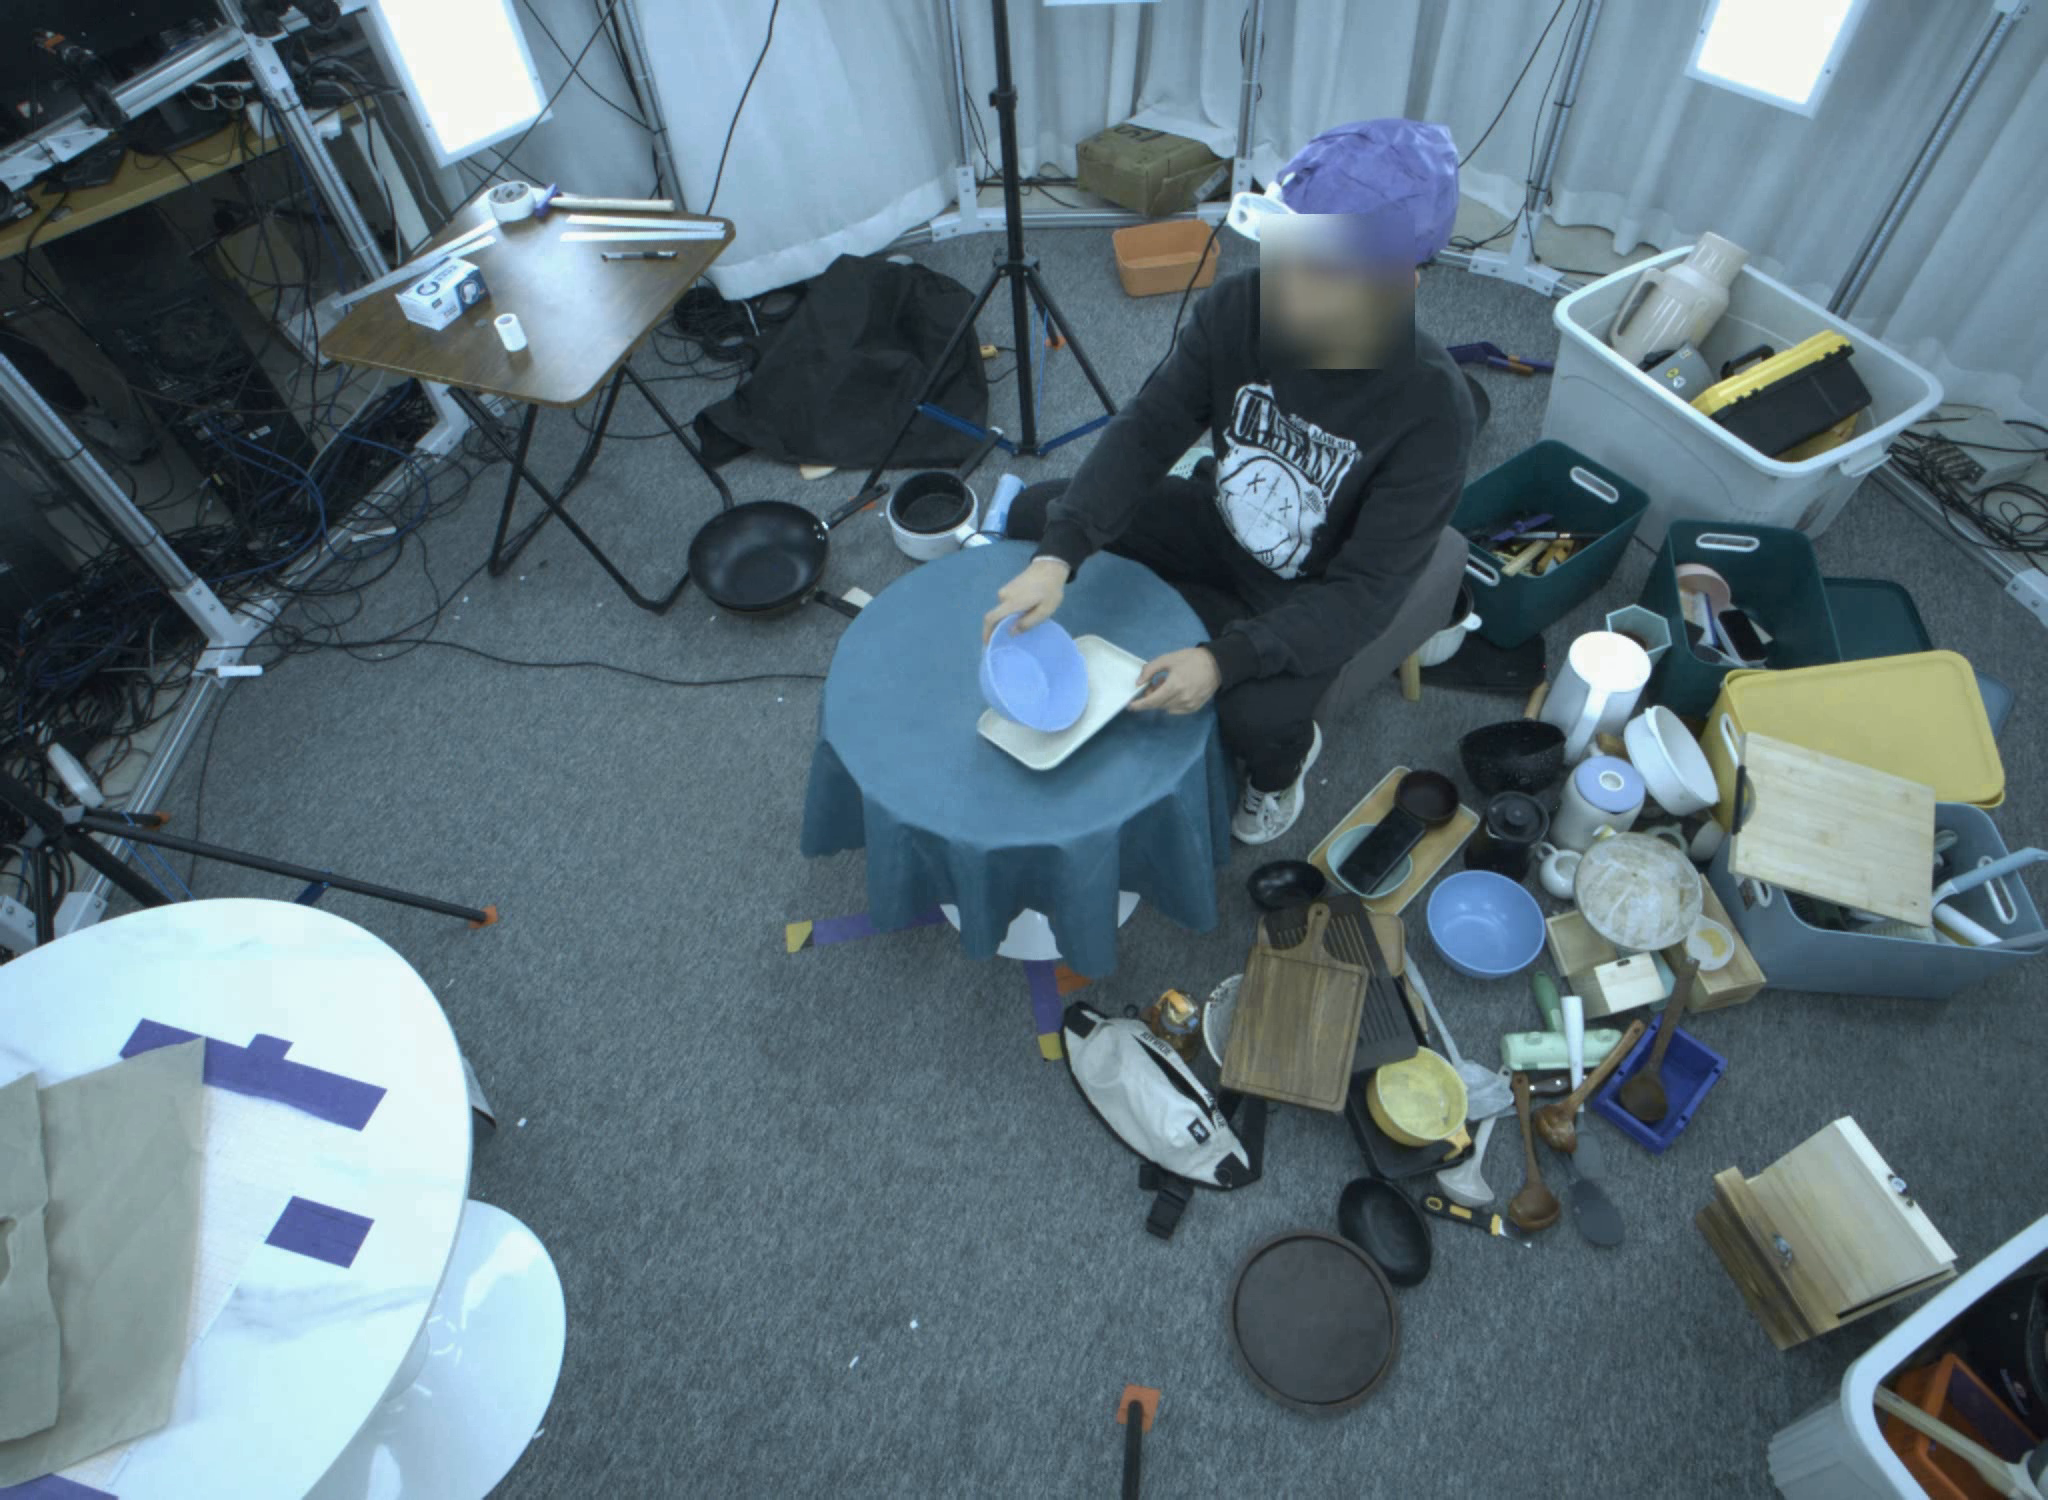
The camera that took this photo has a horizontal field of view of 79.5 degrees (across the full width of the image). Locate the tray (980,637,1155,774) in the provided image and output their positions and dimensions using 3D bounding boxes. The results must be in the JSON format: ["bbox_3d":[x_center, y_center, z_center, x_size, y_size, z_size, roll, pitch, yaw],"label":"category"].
[{"bbox_3d":[0.064,-0.066,1.801,0.241,0.018,0.167,-40,48,-18],"label":"tray"}]

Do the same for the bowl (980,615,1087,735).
[{"bbox_3d":[0.003,-0.100,1.753,0.180,0.069,0.175,13,69,-36],"label":"bowl"}]
